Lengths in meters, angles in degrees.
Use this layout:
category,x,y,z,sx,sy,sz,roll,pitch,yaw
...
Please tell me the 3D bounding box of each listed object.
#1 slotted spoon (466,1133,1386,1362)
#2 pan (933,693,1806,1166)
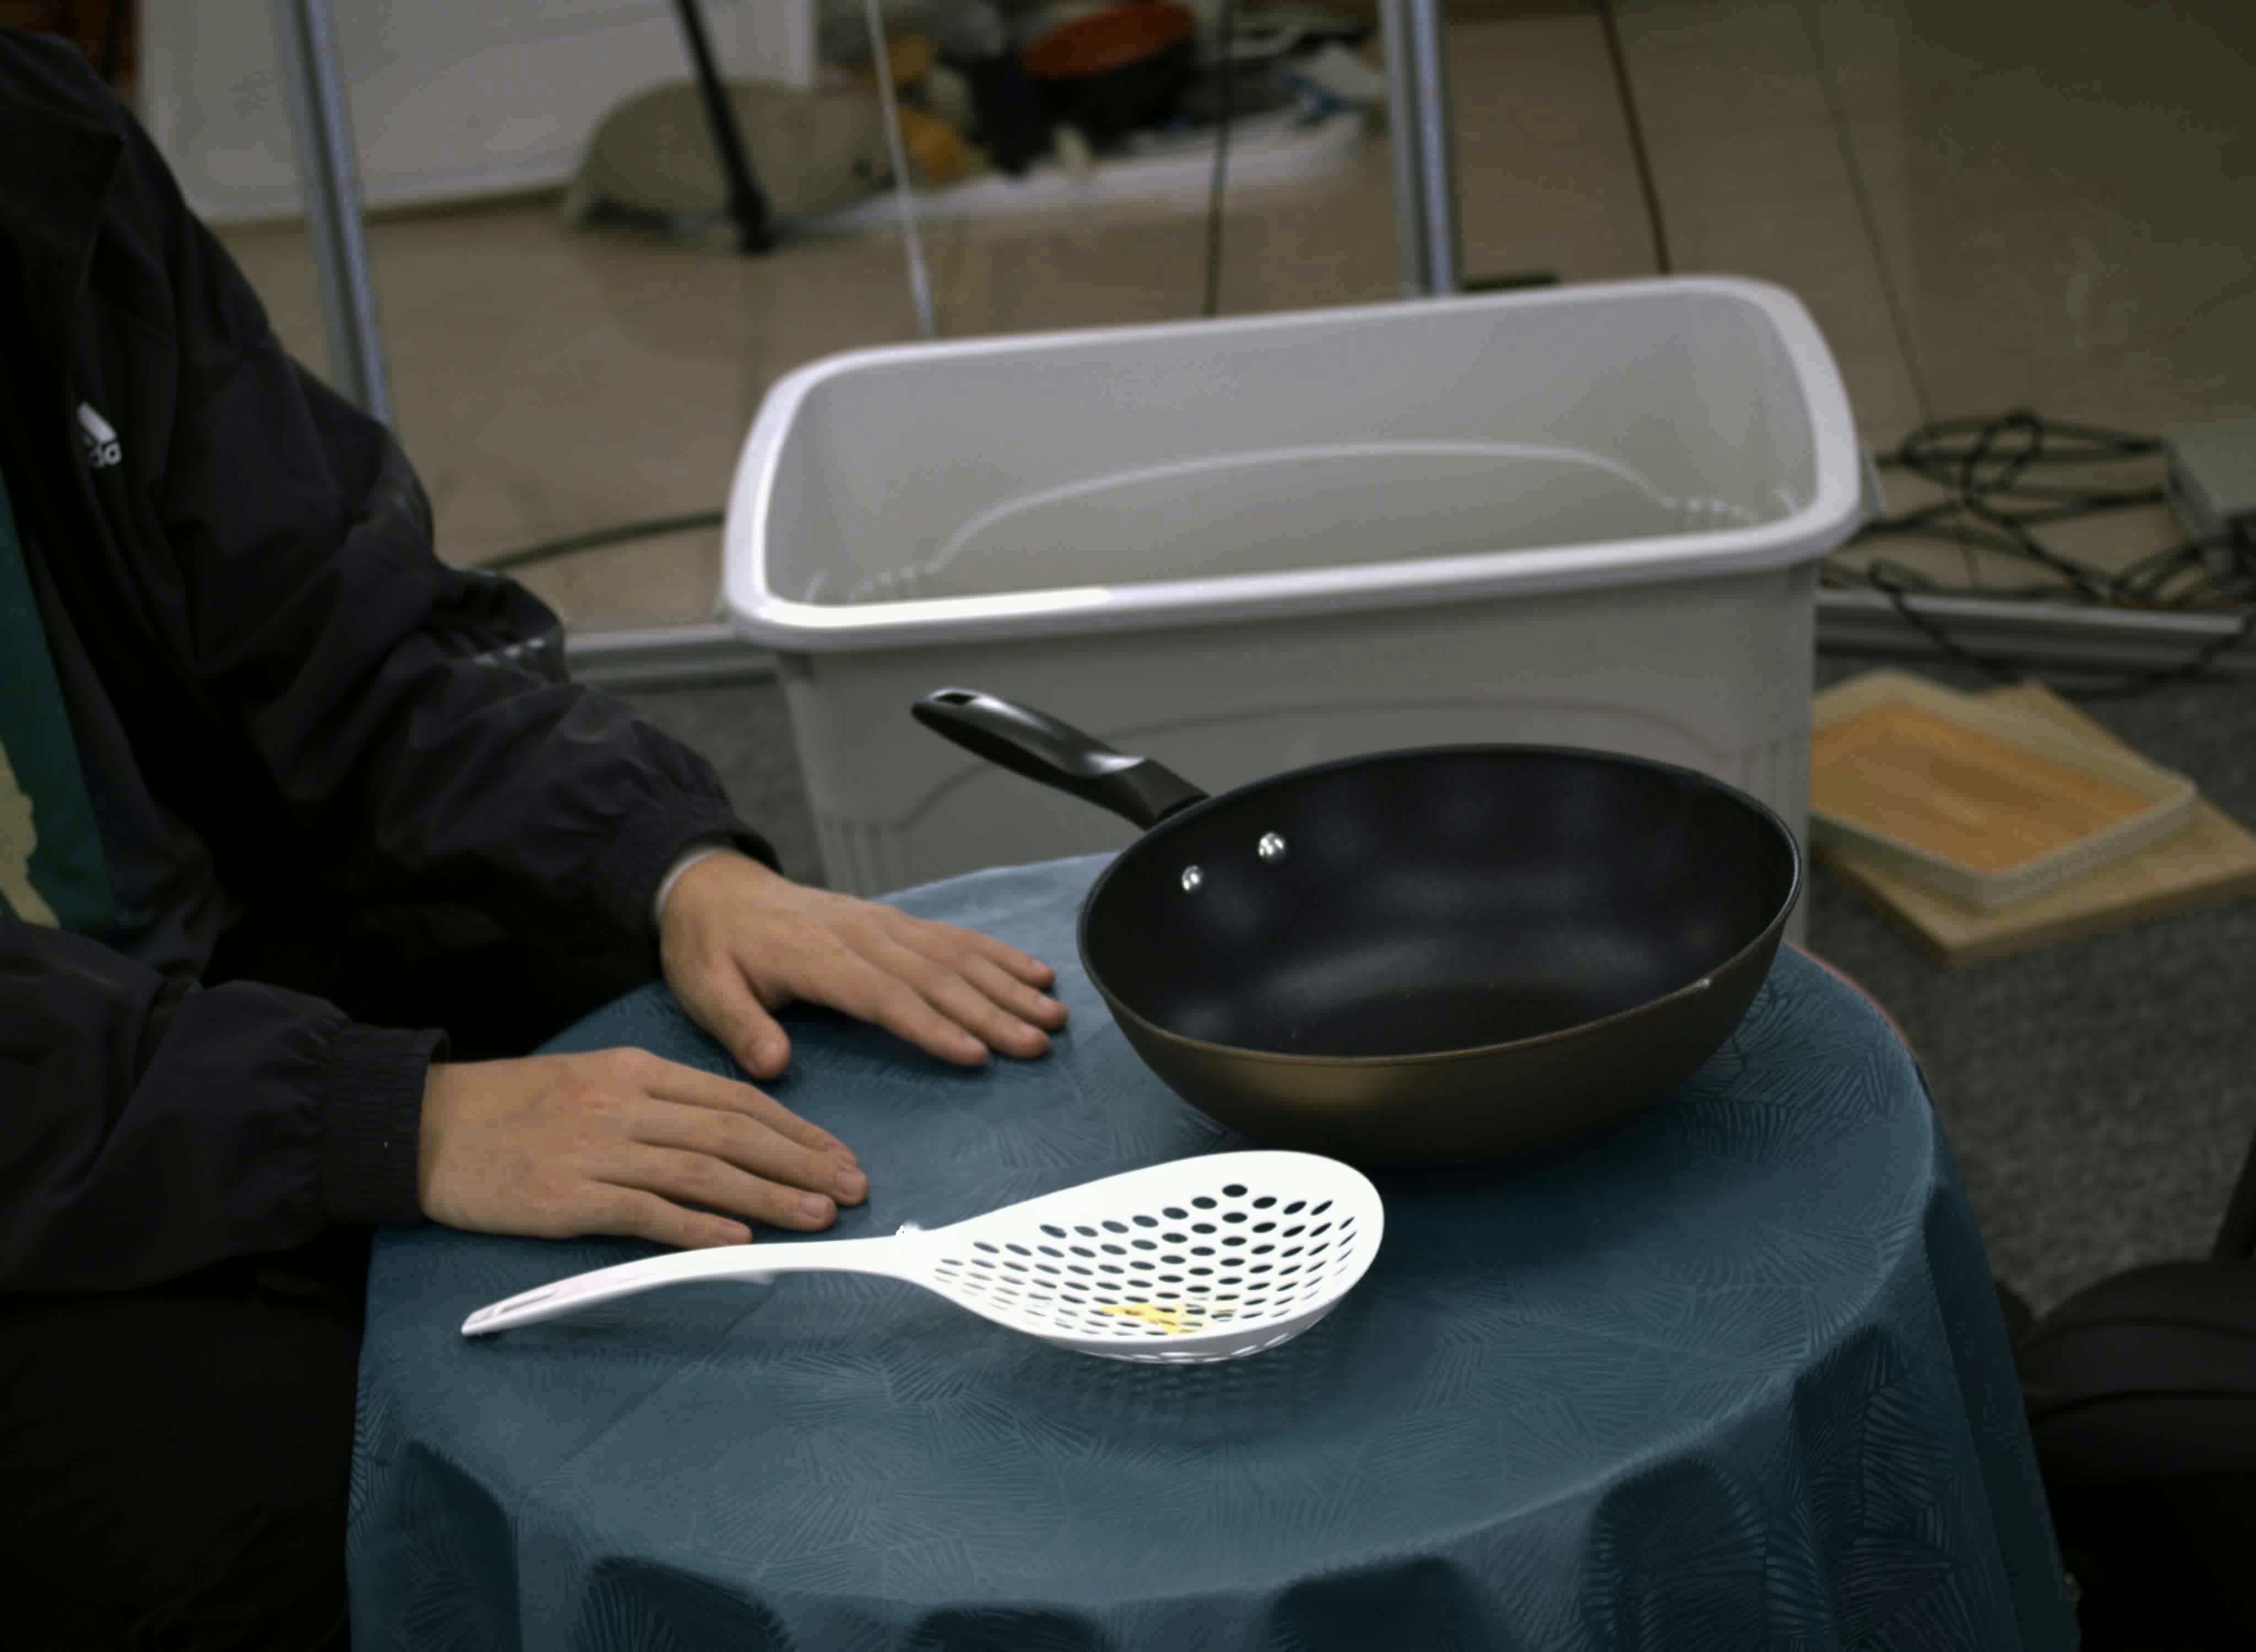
category,x,y,z,sx,sy,sz,roll,pitch,yaw
slotted spoon,-0.077,0.165,2.060,0.347,0.051,0.135,-1,27,13
pan,0.065,0.037,2.252,0.286,0.088,0.459,-24,28,-33
